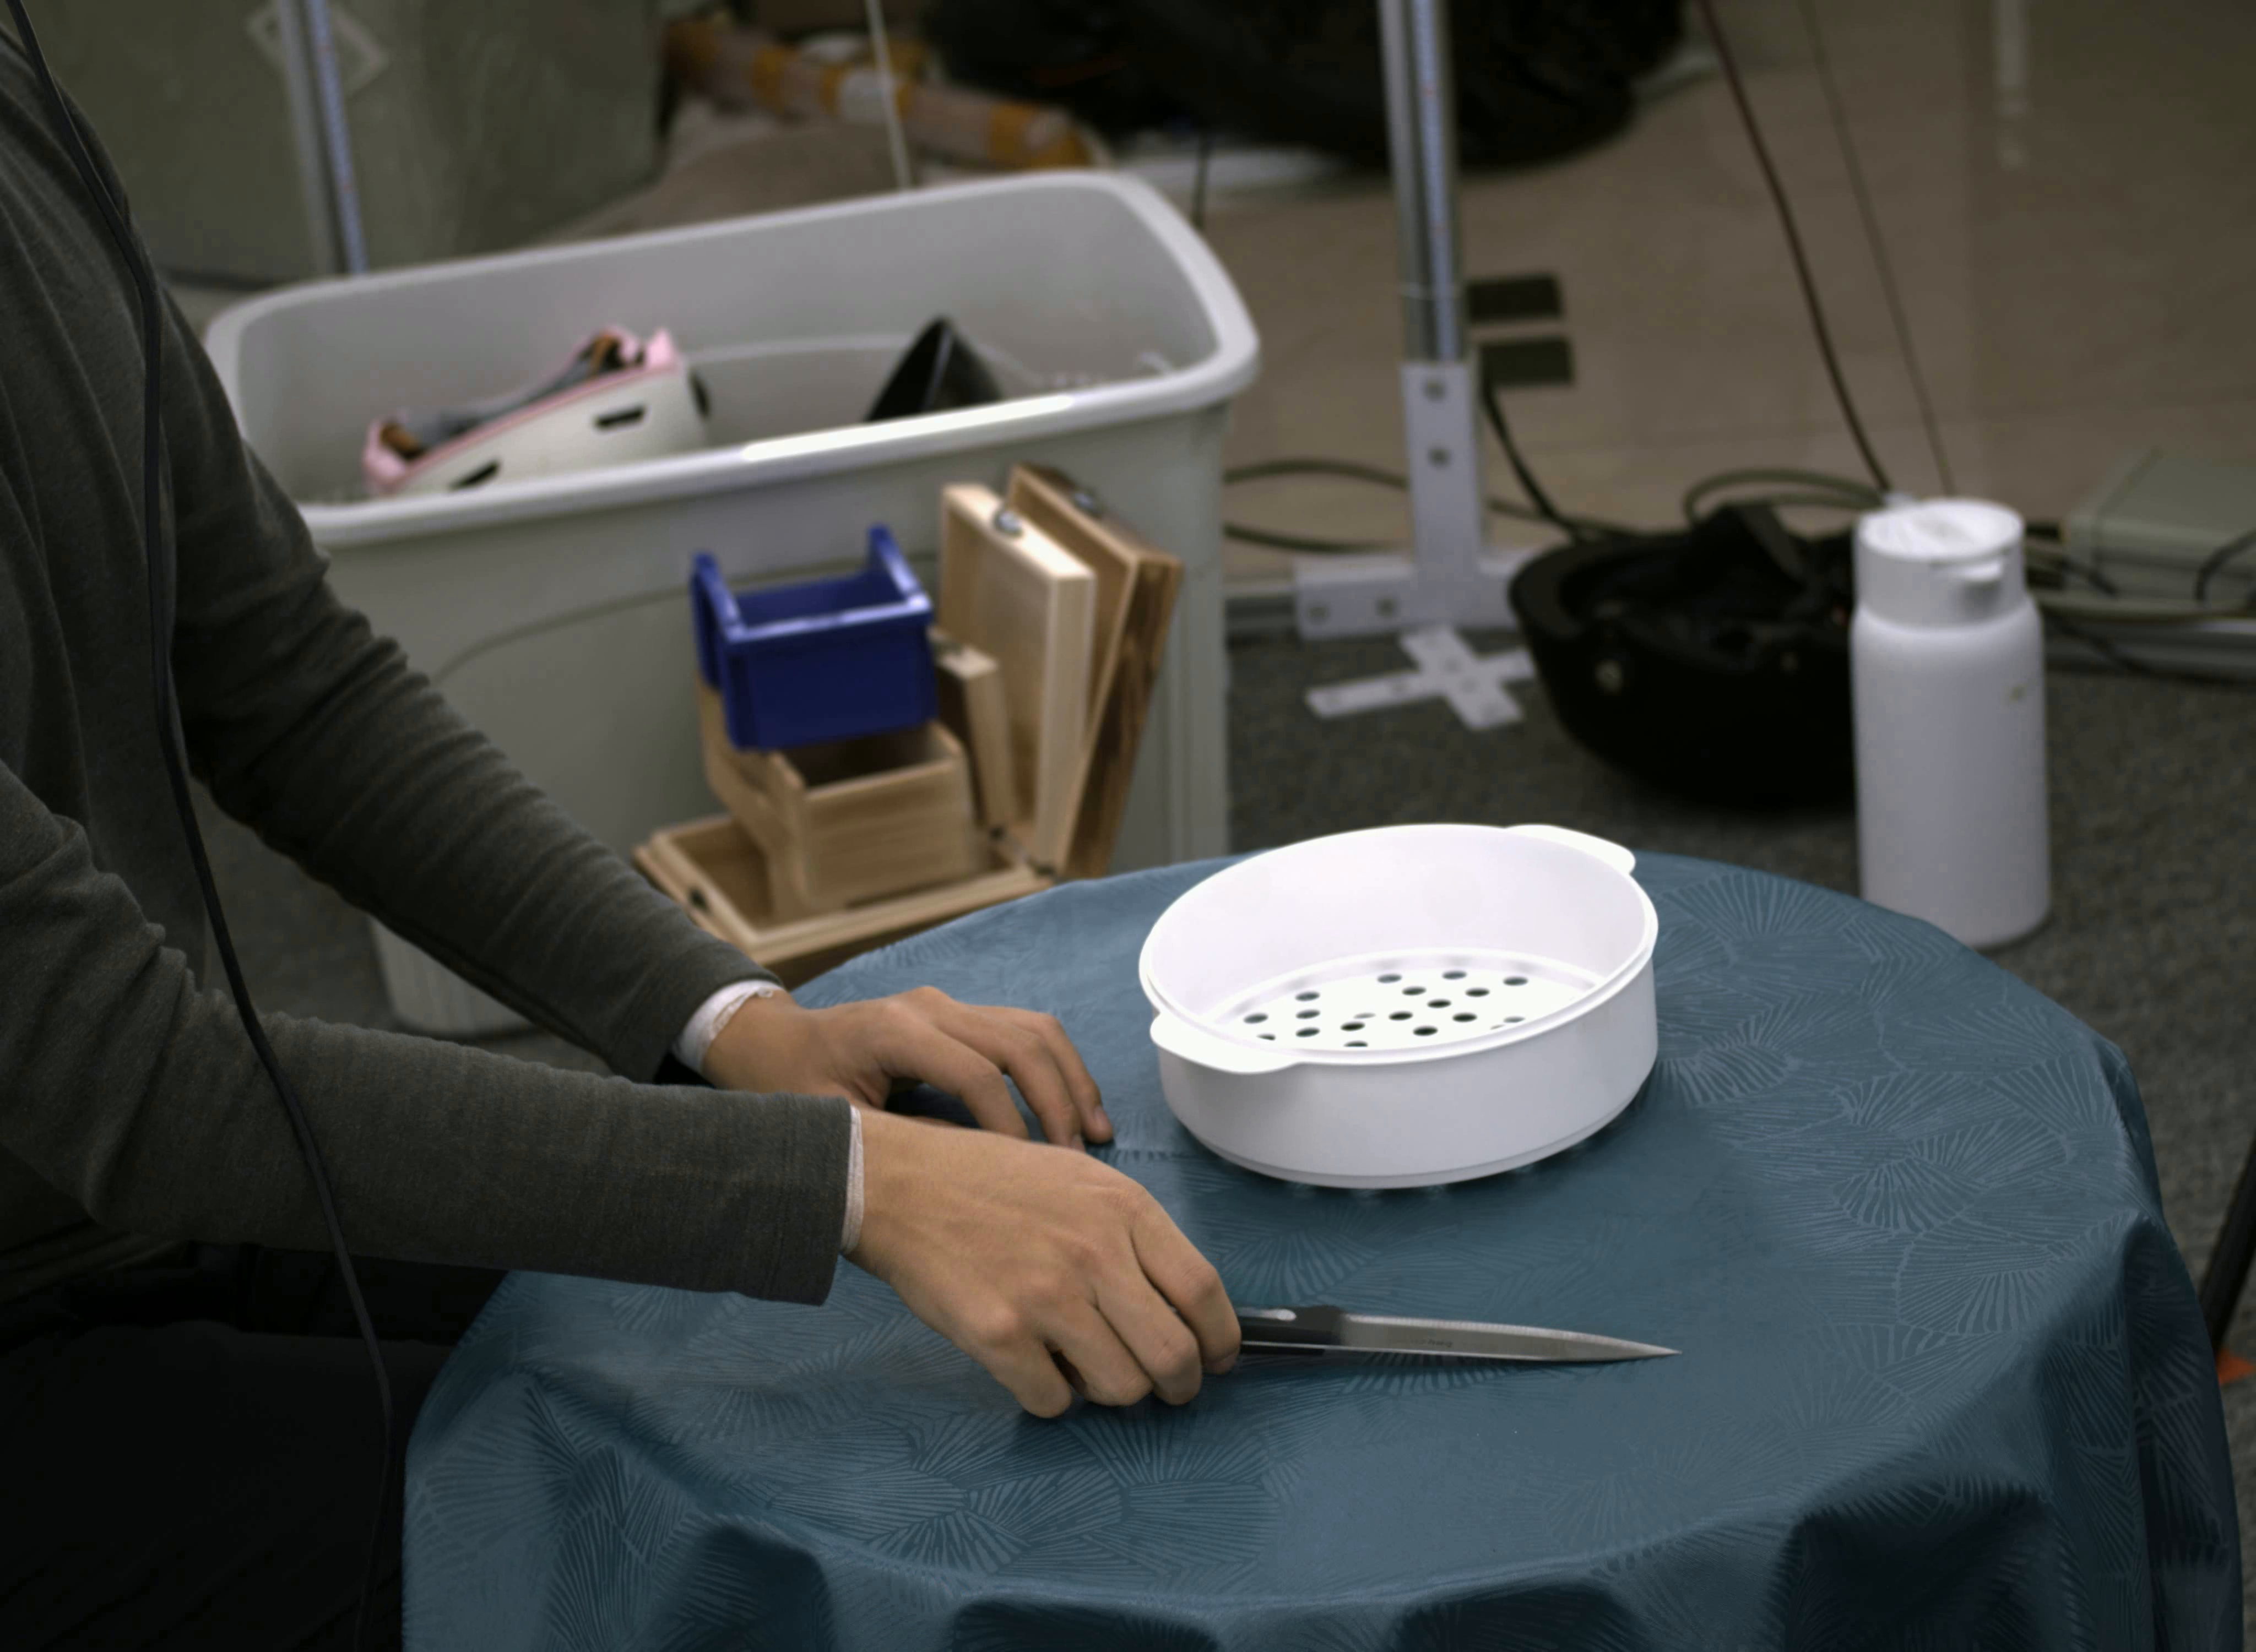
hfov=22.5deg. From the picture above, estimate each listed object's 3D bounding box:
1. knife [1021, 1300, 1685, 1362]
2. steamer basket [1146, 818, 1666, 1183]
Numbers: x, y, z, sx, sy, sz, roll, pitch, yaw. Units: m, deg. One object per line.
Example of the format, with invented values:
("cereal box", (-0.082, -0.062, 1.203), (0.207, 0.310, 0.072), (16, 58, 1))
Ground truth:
("knife", (0.079, 0.181, 2.019), (0.238, 0.016, 0.024), (1, 28, 7))
("steamer basket", (0.110, 0.068, 2.194), (0.228, 0.070, 0.200), (-28, 32, -36))
